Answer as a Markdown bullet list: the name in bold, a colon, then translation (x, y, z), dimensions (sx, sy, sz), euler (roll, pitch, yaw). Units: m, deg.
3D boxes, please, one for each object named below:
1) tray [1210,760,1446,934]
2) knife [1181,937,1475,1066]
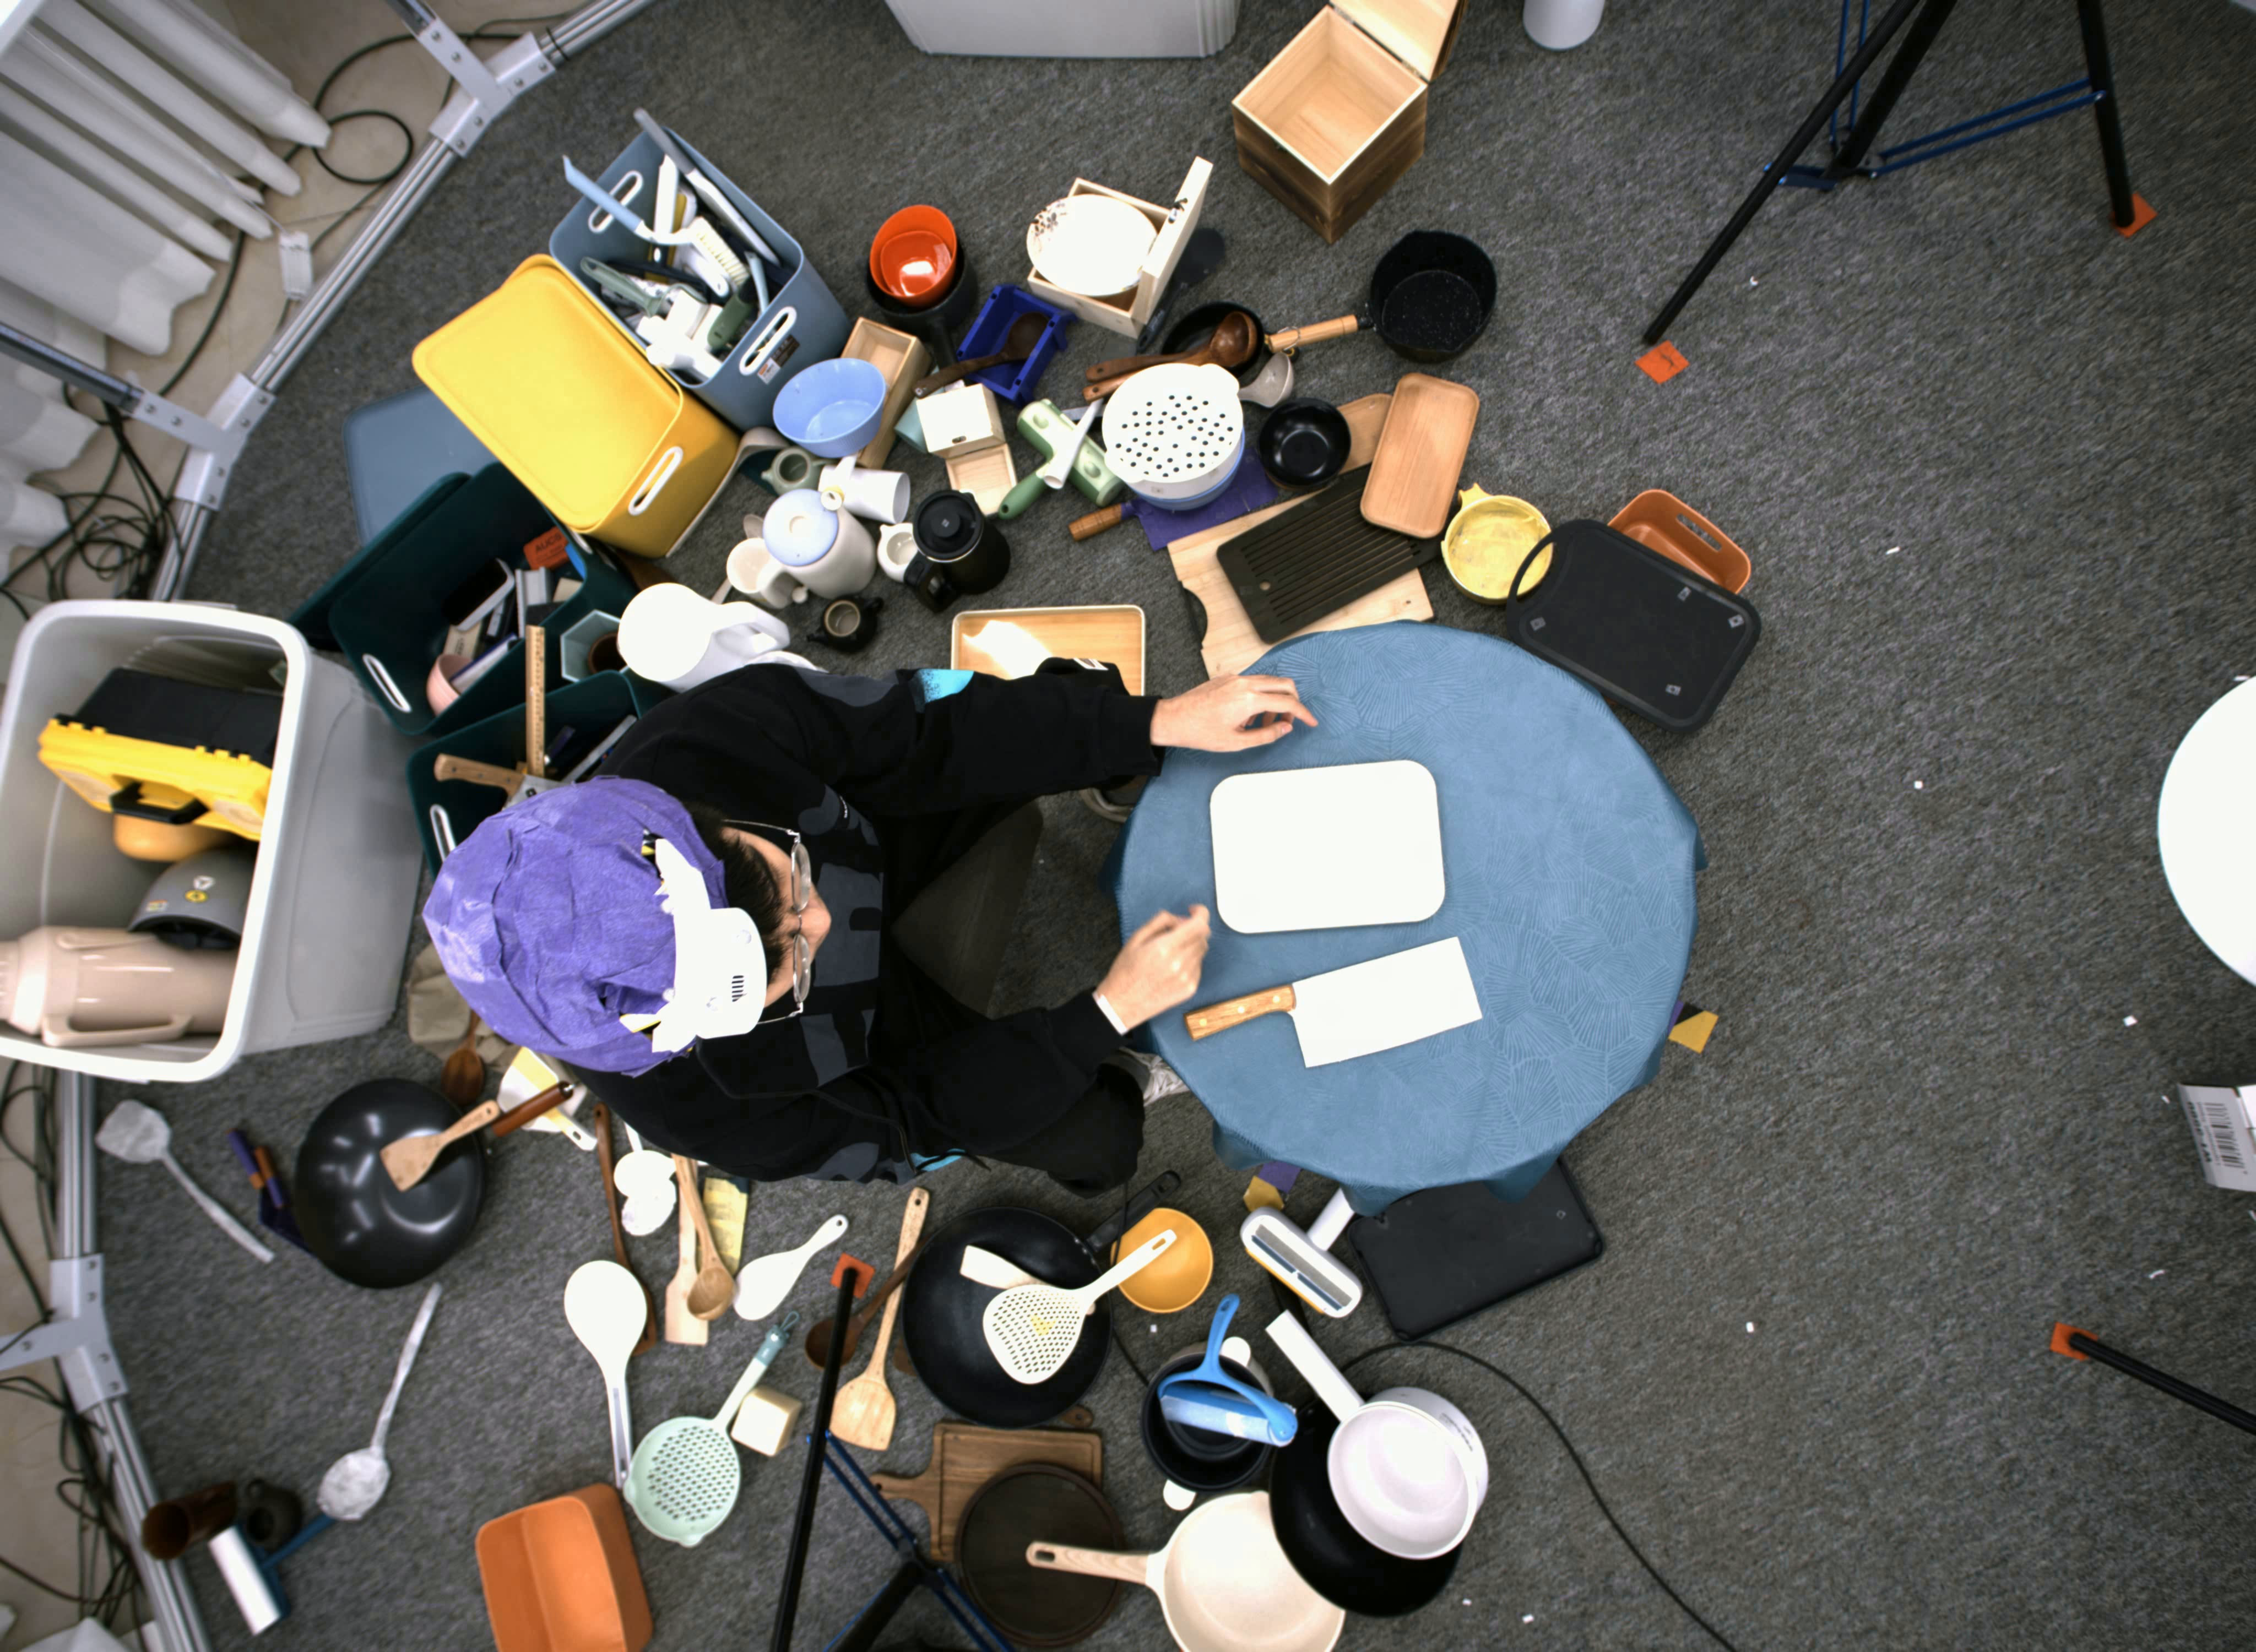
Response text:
- **tray**: translation (0.210, 0.022, 1.464), dimensions (0.241, 0.017, 0.170), euler (-5, 87, 10)
- **knife**: translation (0.211, 0.198, 1.456), dimensions (0.307, 0.021, 0.092), euler (-17, 86, 7)
